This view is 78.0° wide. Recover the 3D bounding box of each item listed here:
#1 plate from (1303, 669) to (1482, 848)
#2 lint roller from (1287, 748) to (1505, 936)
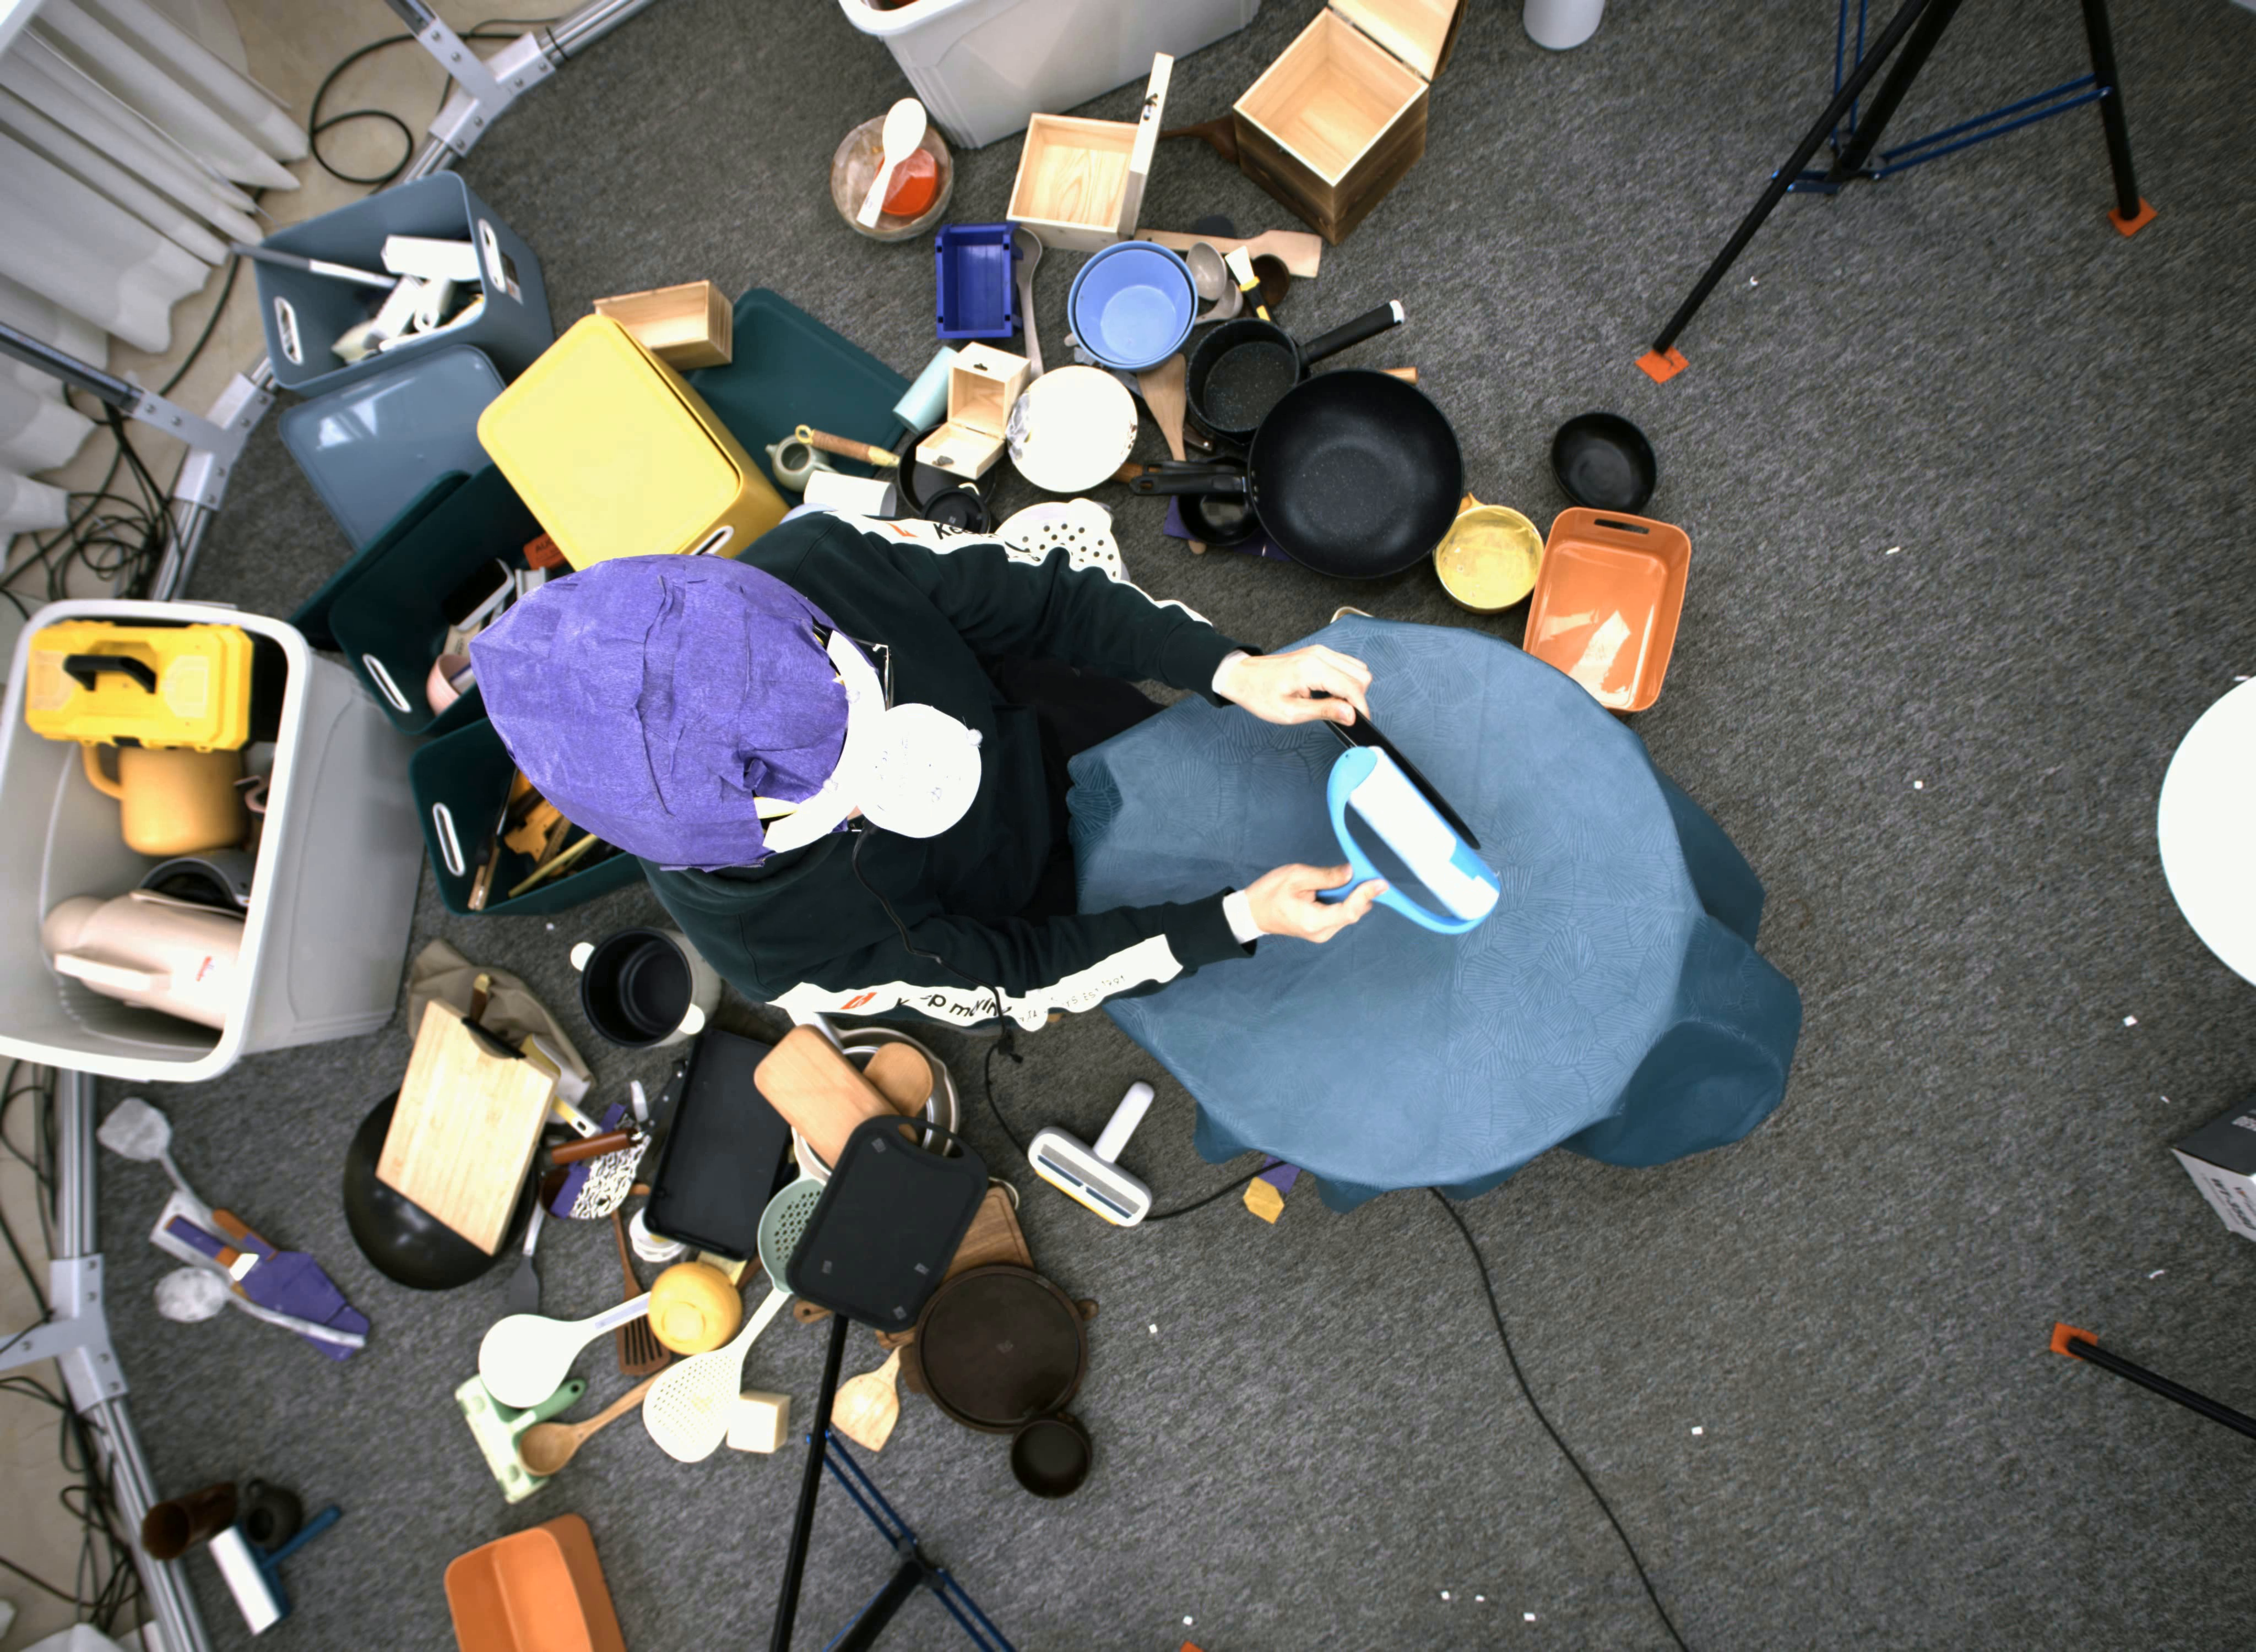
[{"bbox_3d":[0.251,-0.062,1.344,0.023,0.244,0.243,-45,80,6],"label":"plate"},{"bbox_3d":[0.222,0.038,1.275,0.184,0.066,0.231,-33,120,32],"label":"lint roller"}]
